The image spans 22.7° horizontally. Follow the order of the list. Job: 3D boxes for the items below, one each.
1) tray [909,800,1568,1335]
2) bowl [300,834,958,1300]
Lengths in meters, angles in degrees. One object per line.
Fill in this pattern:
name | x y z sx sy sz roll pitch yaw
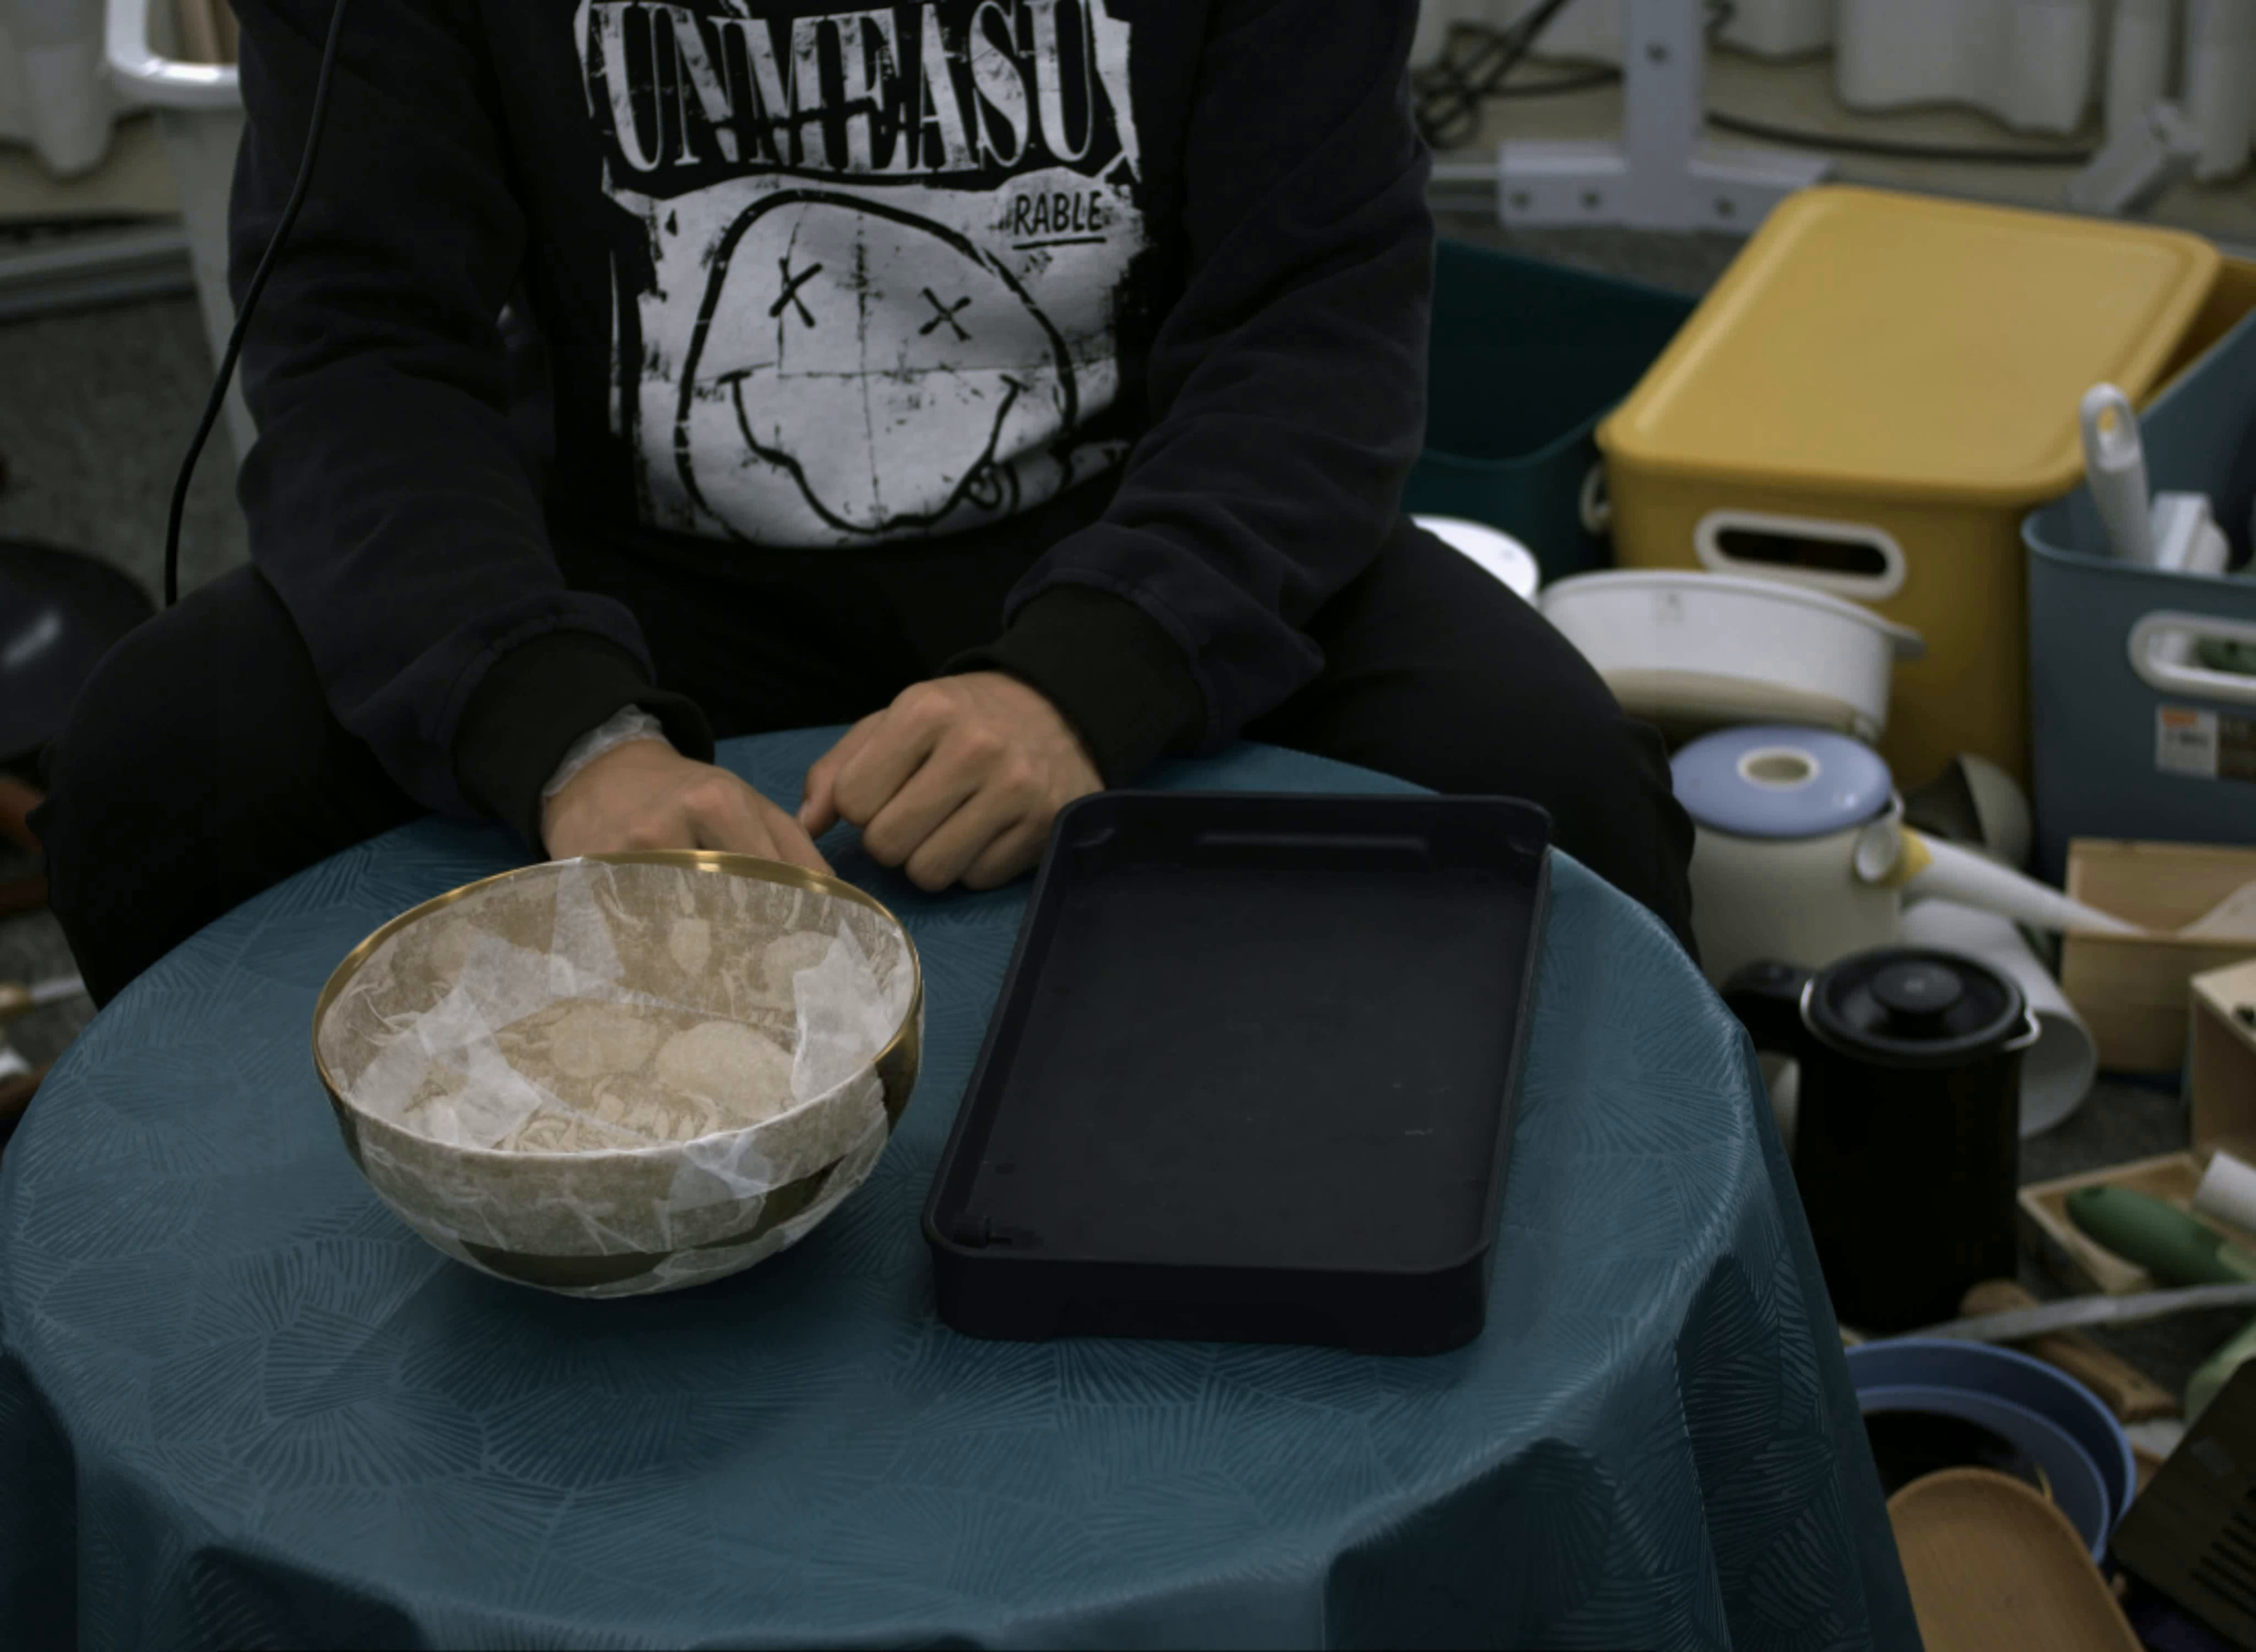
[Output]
tray | 0.045 0.075 1.901 0.183 0.036 0.323 1 26 10
bowl | -0.160 0.092 1.836 0.213 0.093 0.218 -3 27 2
